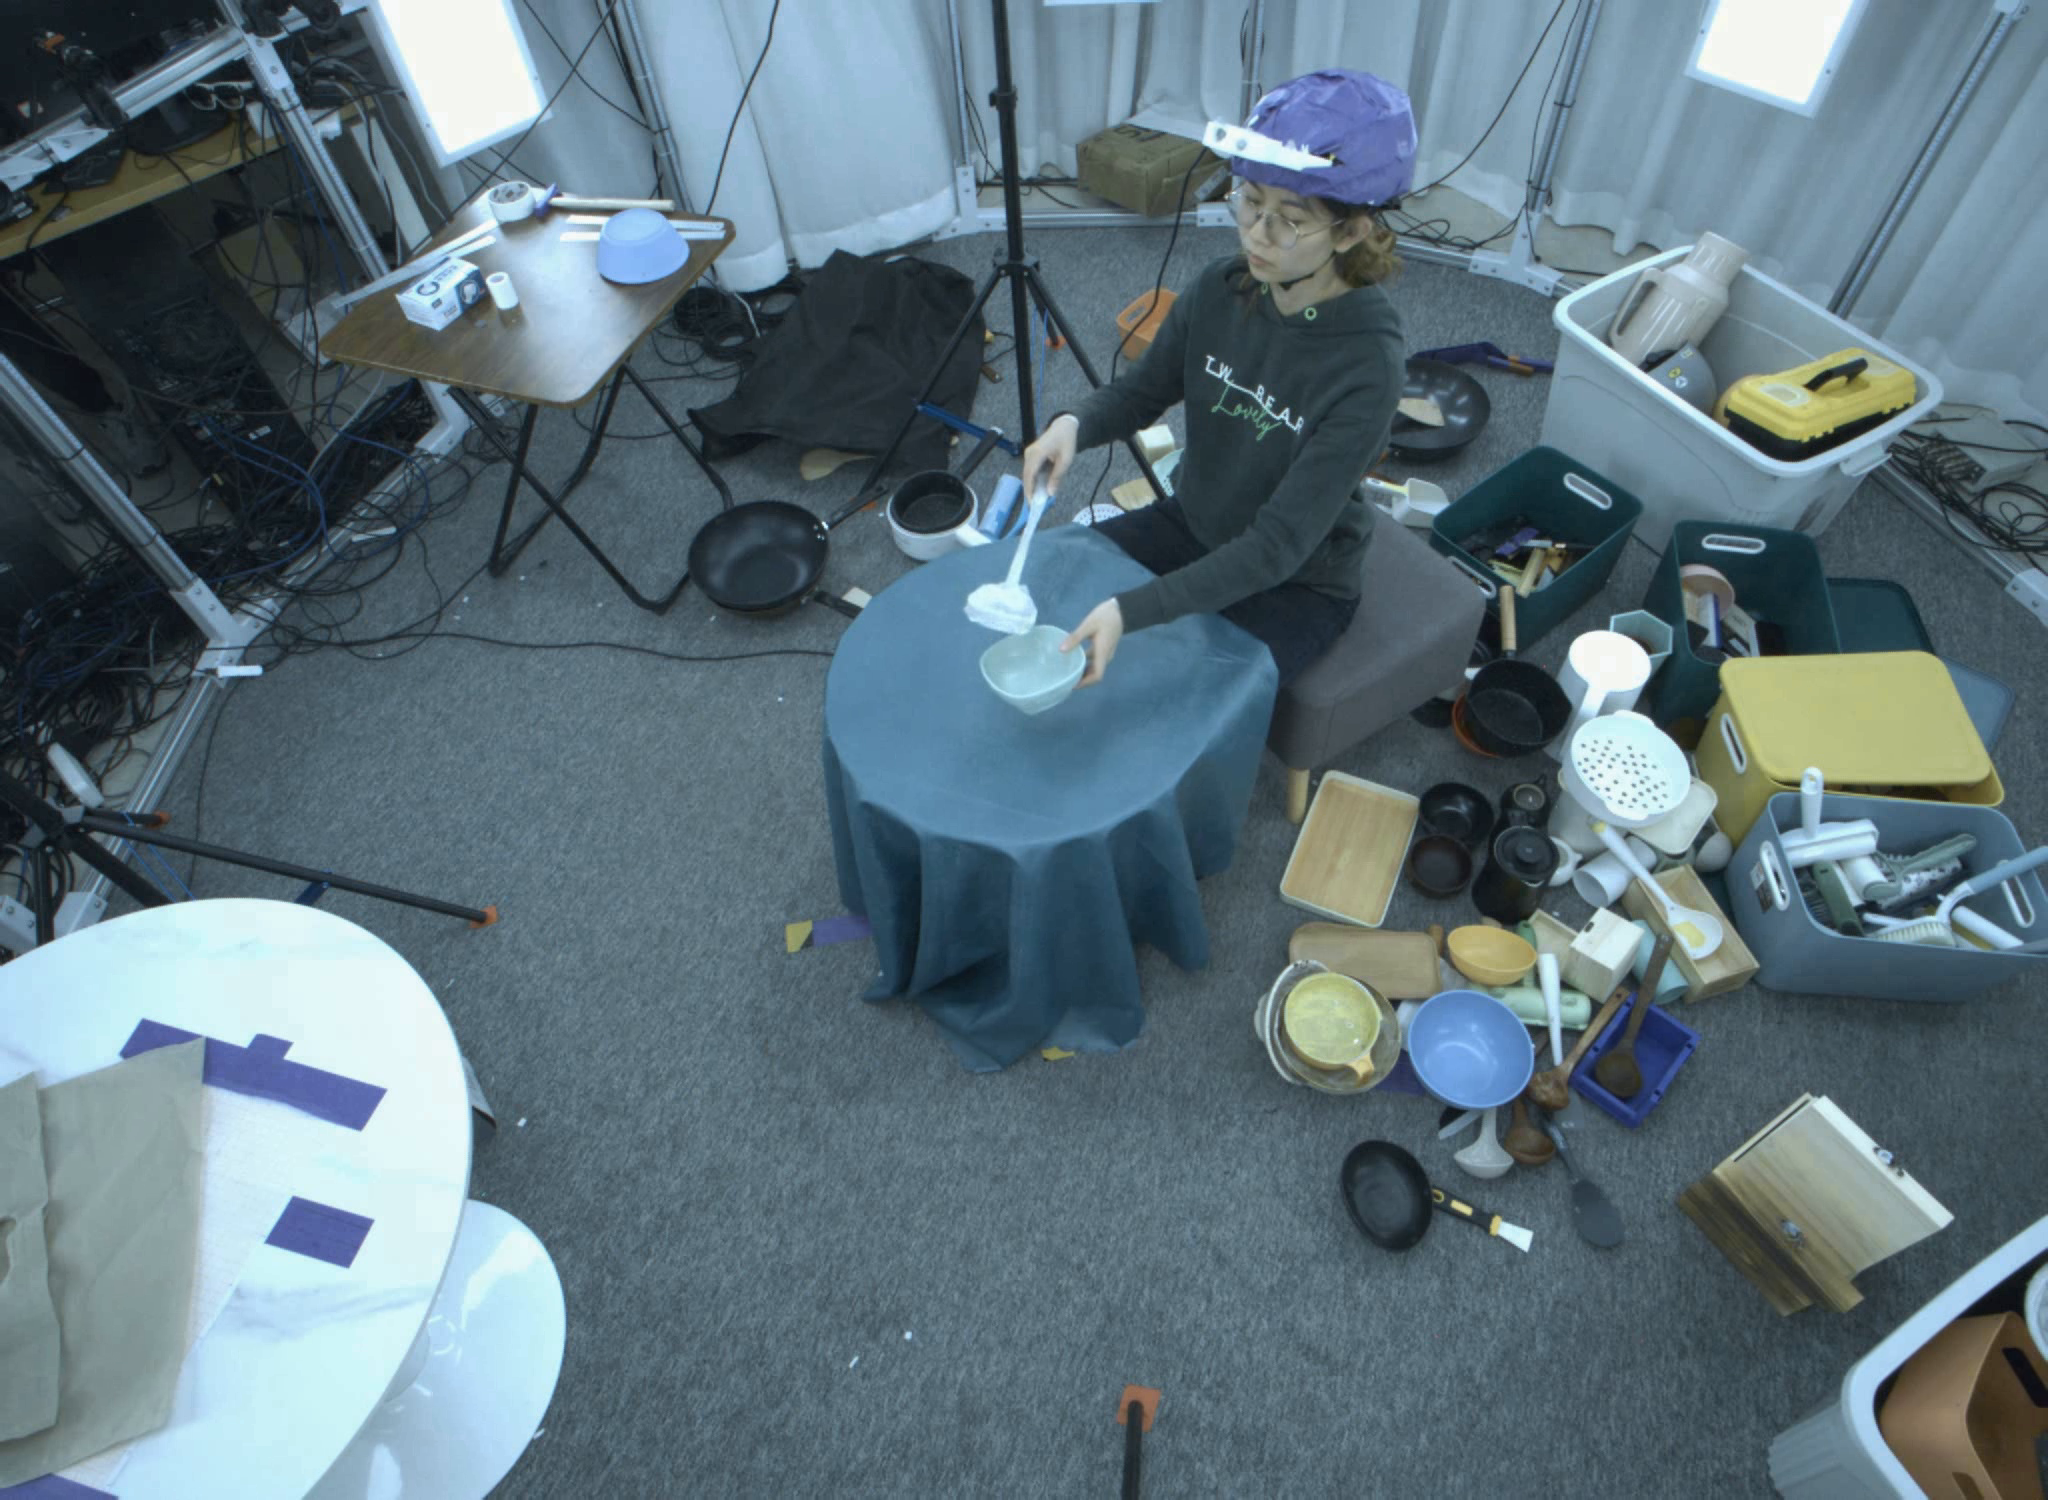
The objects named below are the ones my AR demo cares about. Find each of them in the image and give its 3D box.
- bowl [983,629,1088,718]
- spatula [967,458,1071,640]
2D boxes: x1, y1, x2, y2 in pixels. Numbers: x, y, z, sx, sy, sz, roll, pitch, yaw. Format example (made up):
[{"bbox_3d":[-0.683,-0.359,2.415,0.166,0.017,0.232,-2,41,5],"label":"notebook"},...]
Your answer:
[{"bbox_3d":[0.020,-0.099,1.735,0.151,0.059,0.150,-5,46,7],"label":"bowl"},{"bbox_3d":[0.012,-0.300,1.744,0.099,0.045,0.363,17,64,0],"label":"spatula"}]
